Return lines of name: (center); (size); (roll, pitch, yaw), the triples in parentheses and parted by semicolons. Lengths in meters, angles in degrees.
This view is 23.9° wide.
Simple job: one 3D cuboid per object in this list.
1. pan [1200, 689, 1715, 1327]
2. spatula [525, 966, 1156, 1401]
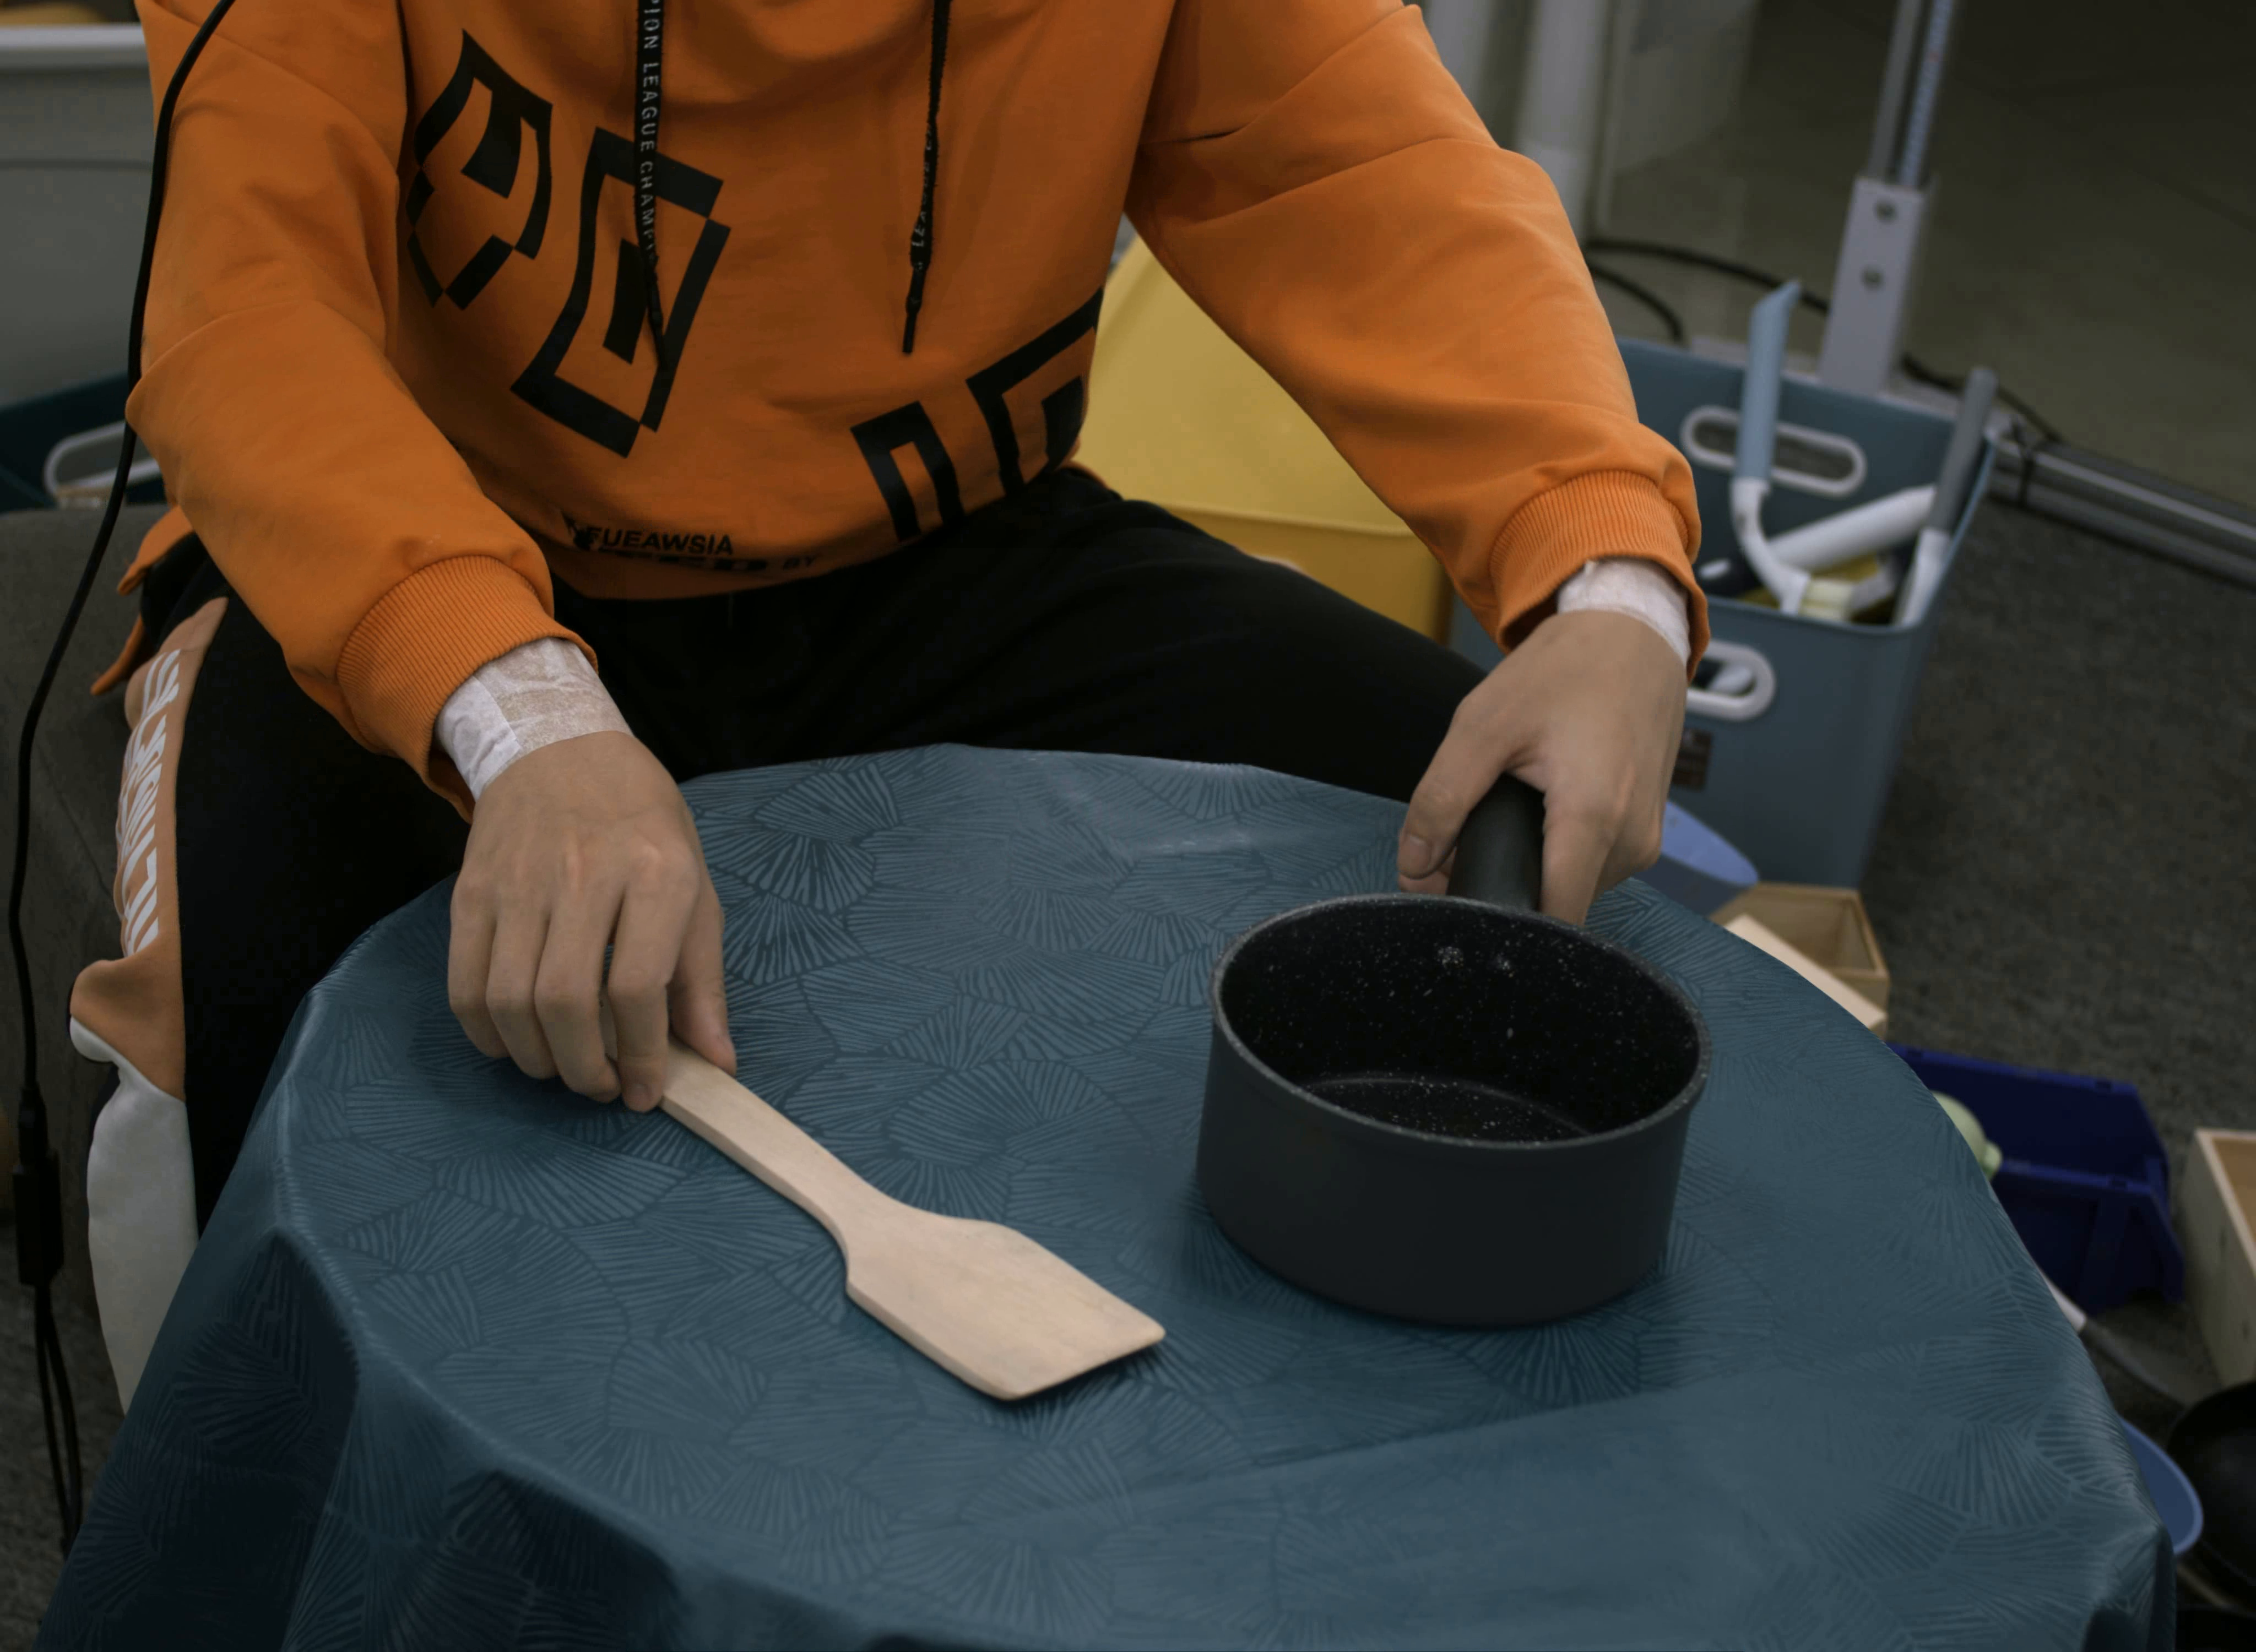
pan: (0.124, 0.059, 1.865); (0.172, 0.086, 0.330); (12, 29, 8)
spatula: (-0.110, 0.115, 1.785); (0.072, 0.010, 0.295); (-20, 37, -37)
